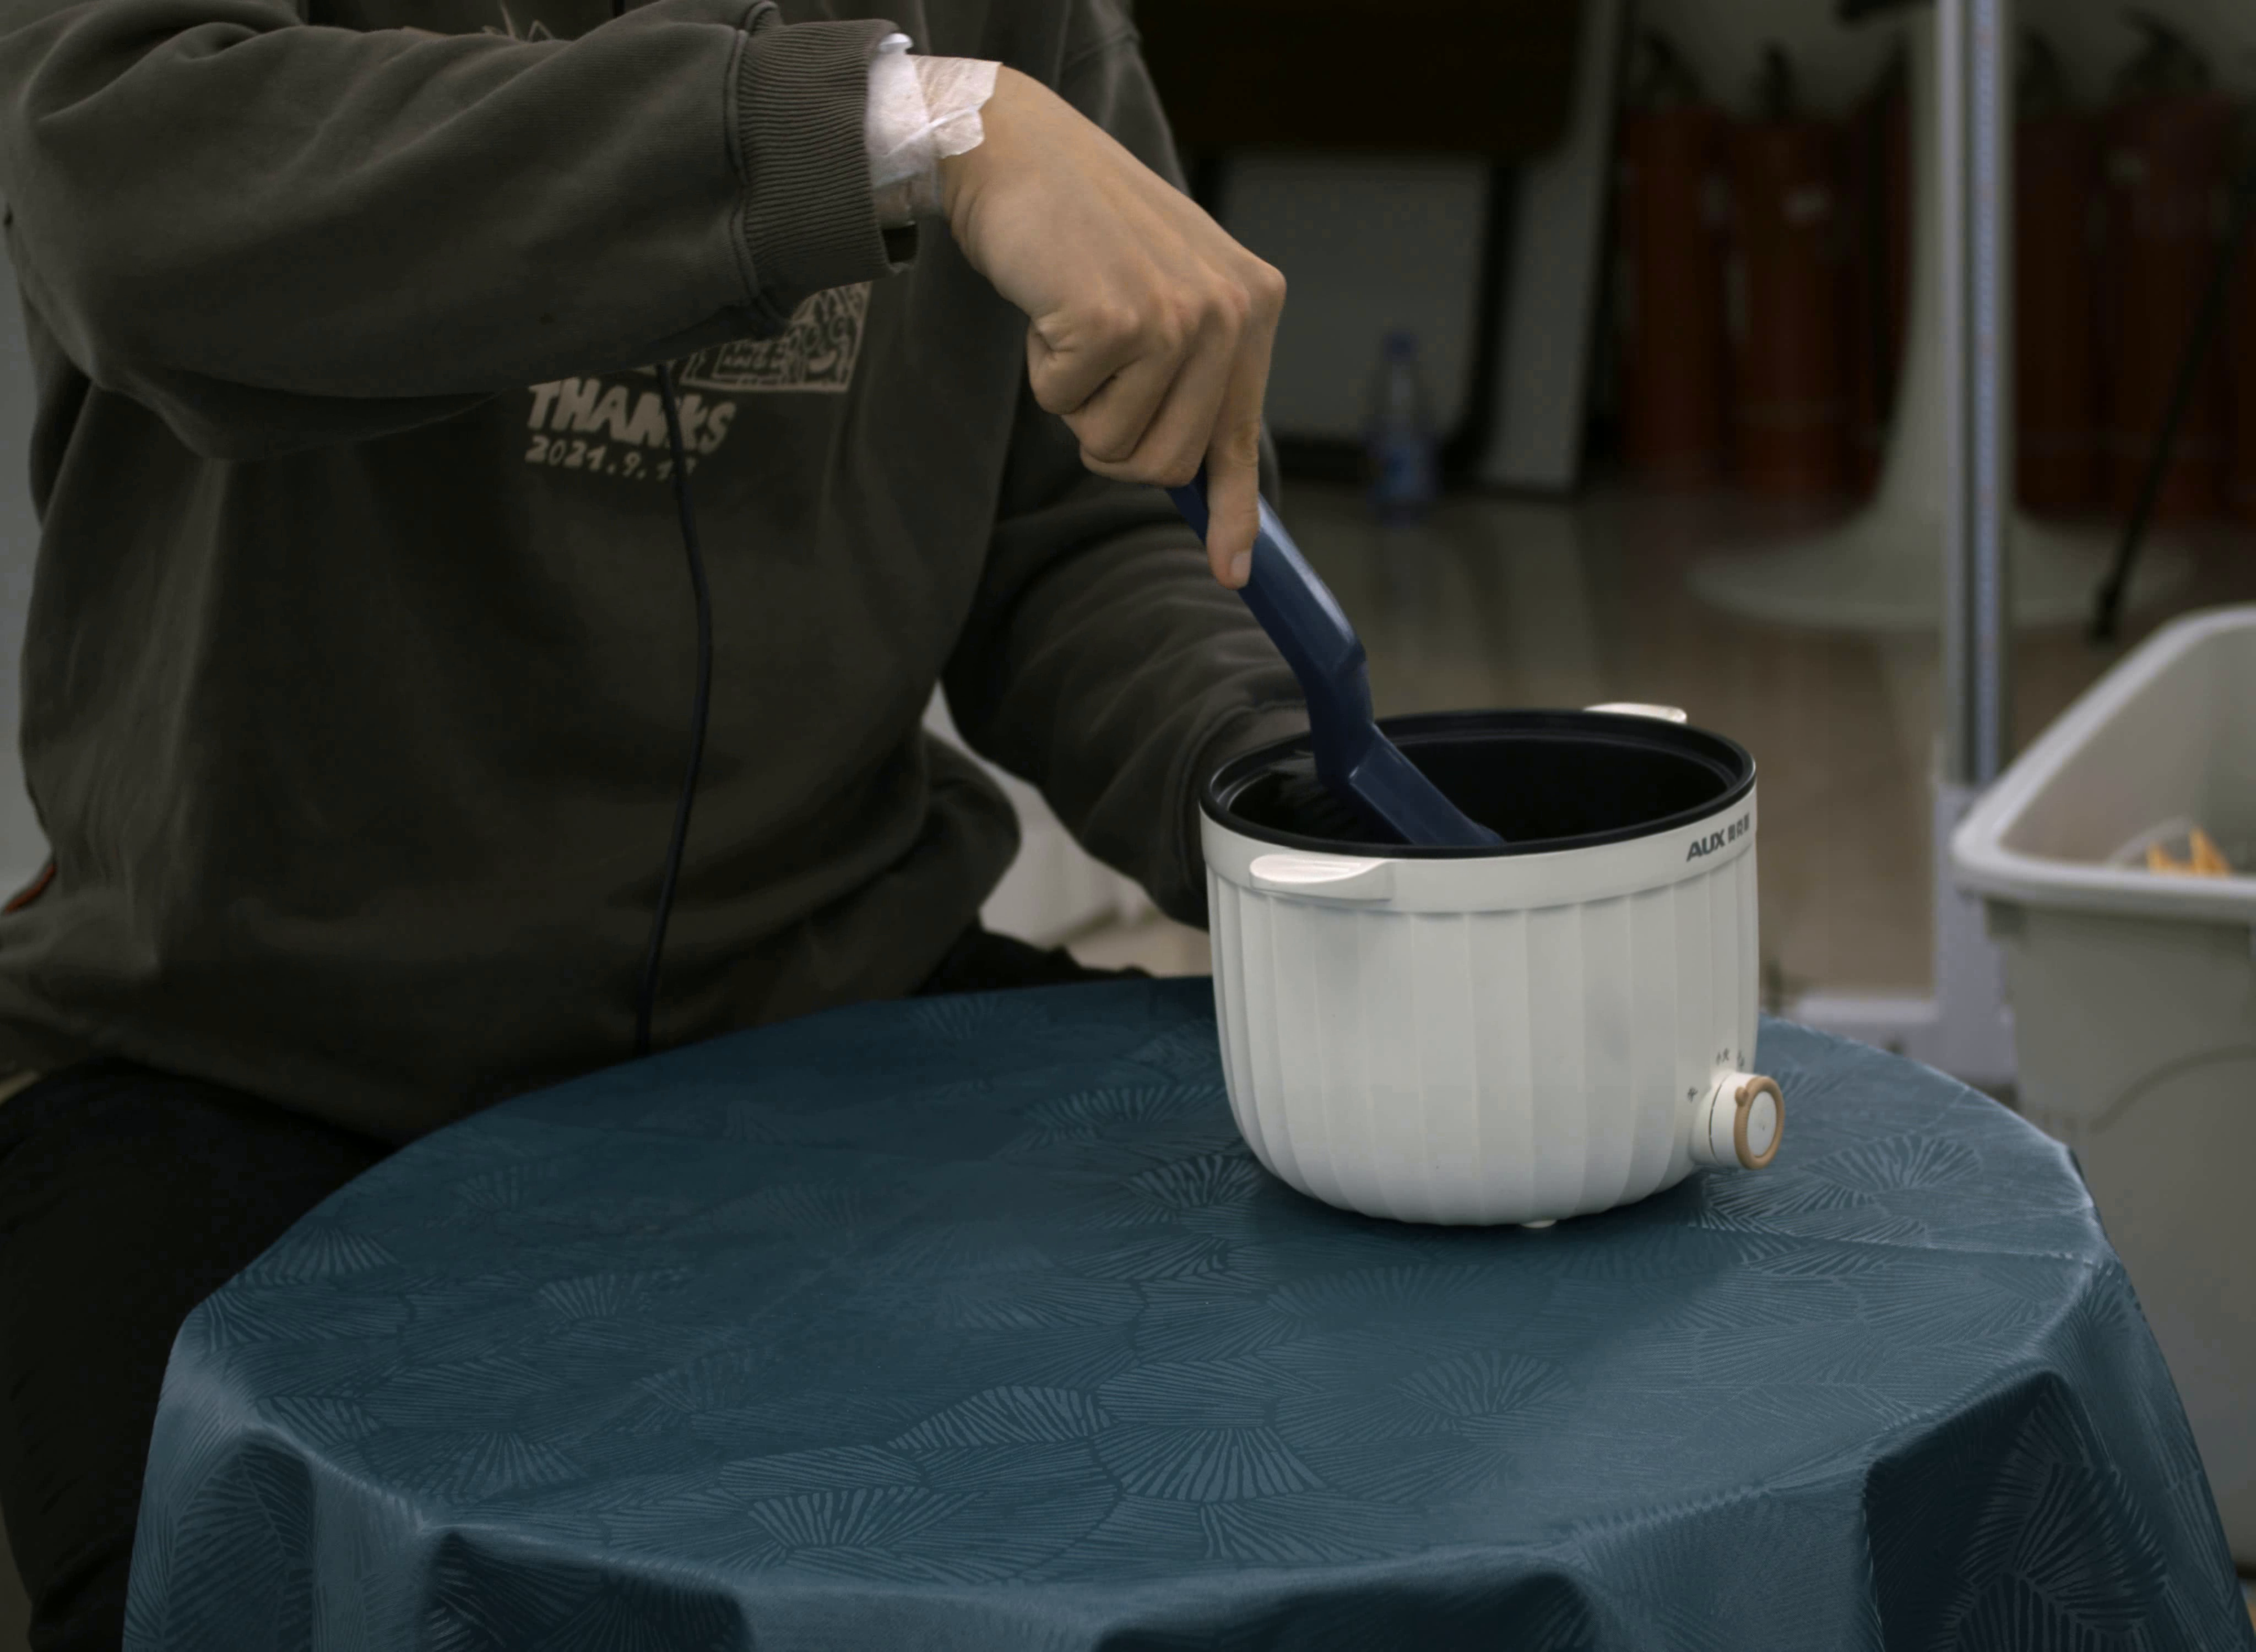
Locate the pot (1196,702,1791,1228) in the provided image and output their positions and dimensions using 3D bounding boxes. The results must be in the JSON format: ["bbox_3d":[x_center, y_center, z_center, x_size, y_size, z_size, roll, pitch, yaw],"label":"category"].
[{"bbox_3d":[0.122,0.047,1.747,0.191,0.144,0.236,1,15,35],"label":"pot"}]

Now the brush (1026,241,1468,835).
[{"bbox_3d":[0.058,-0.068,1.723,0.096,0.272,0.033,-1,39,44],"label":"brush"}]
